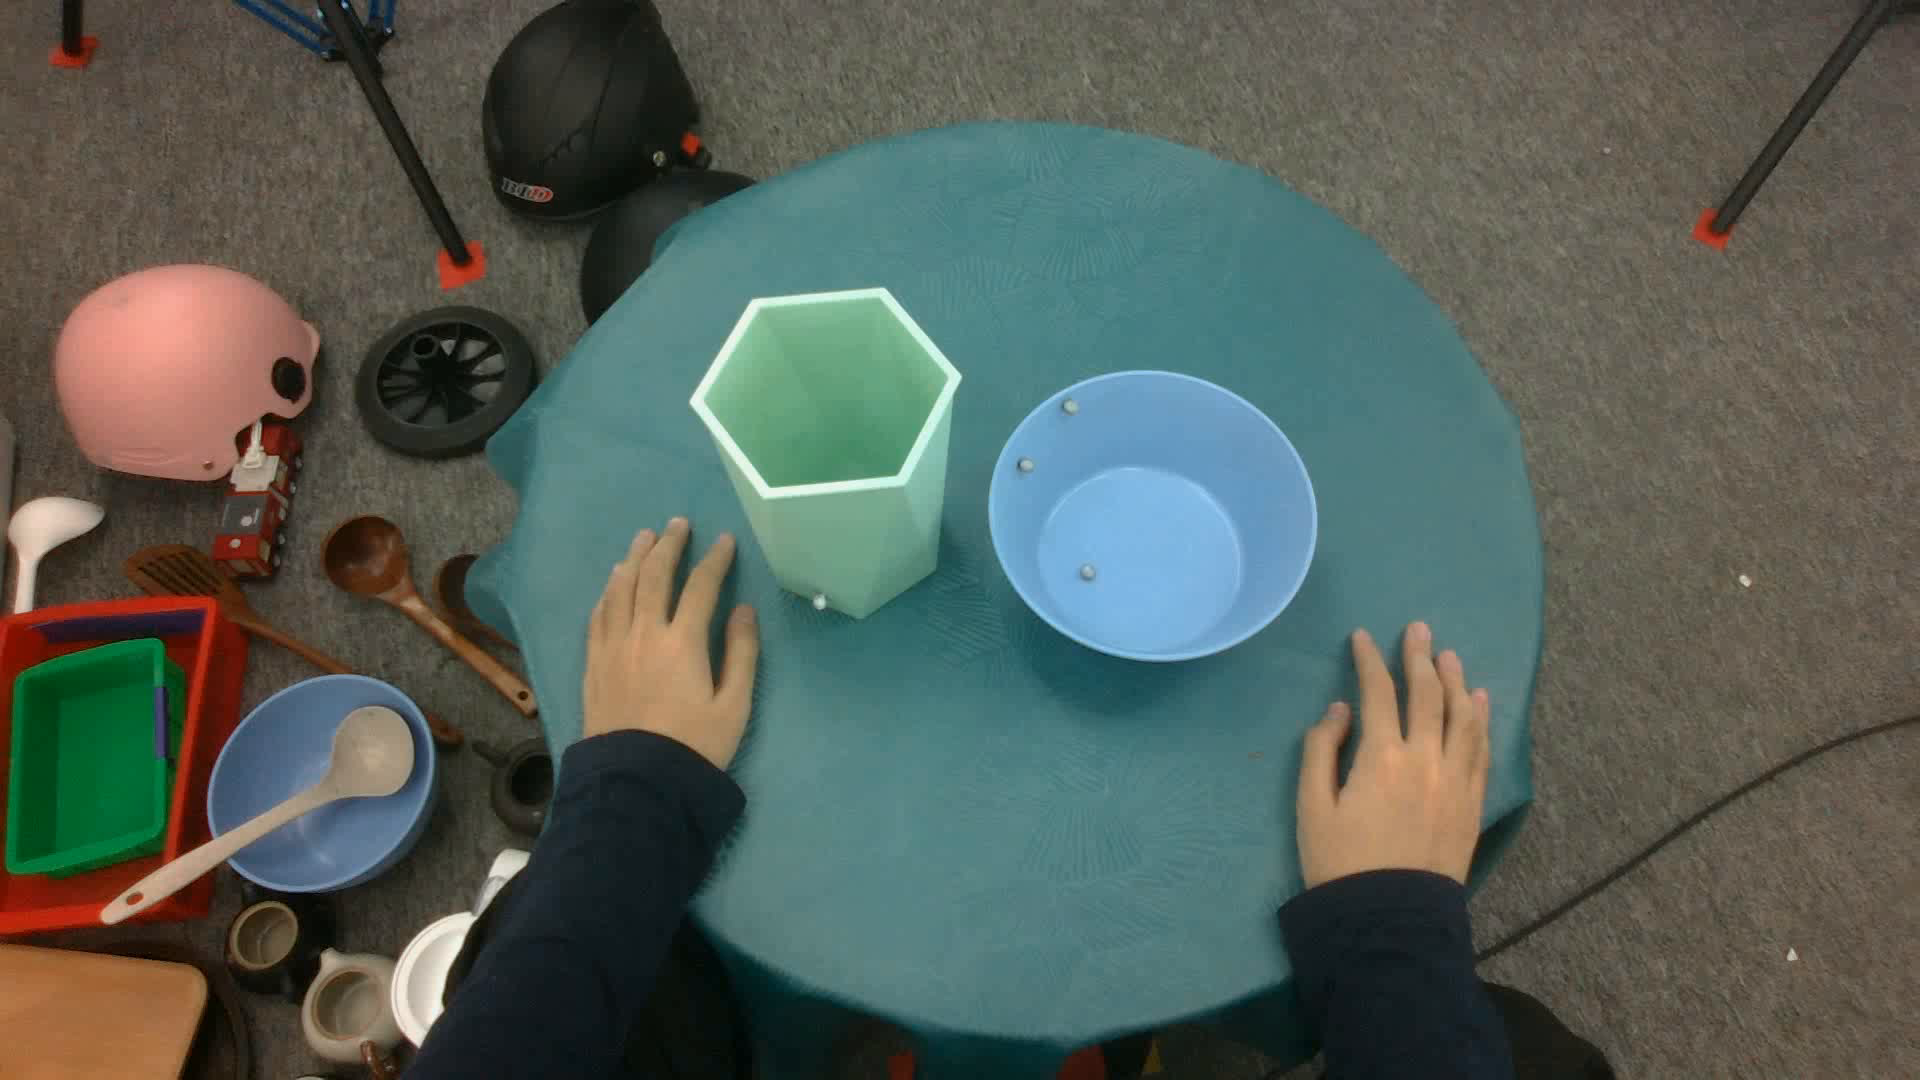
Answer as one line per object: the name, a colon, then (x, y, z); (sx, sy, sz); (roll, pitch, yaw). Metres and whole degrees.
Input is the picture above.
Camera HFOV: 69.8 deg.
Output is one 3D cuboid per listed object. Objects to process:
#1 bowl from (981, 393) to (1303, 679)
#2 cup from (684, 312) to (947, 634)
bowl: (0.099, 0.008, 0.779); (0.176, 0.070, 0.177); (0, 62, 1)
cup: (-0.069, -0.027, 0.748); (0.131, 0.162, 0.115); (-8, 64, -3)
